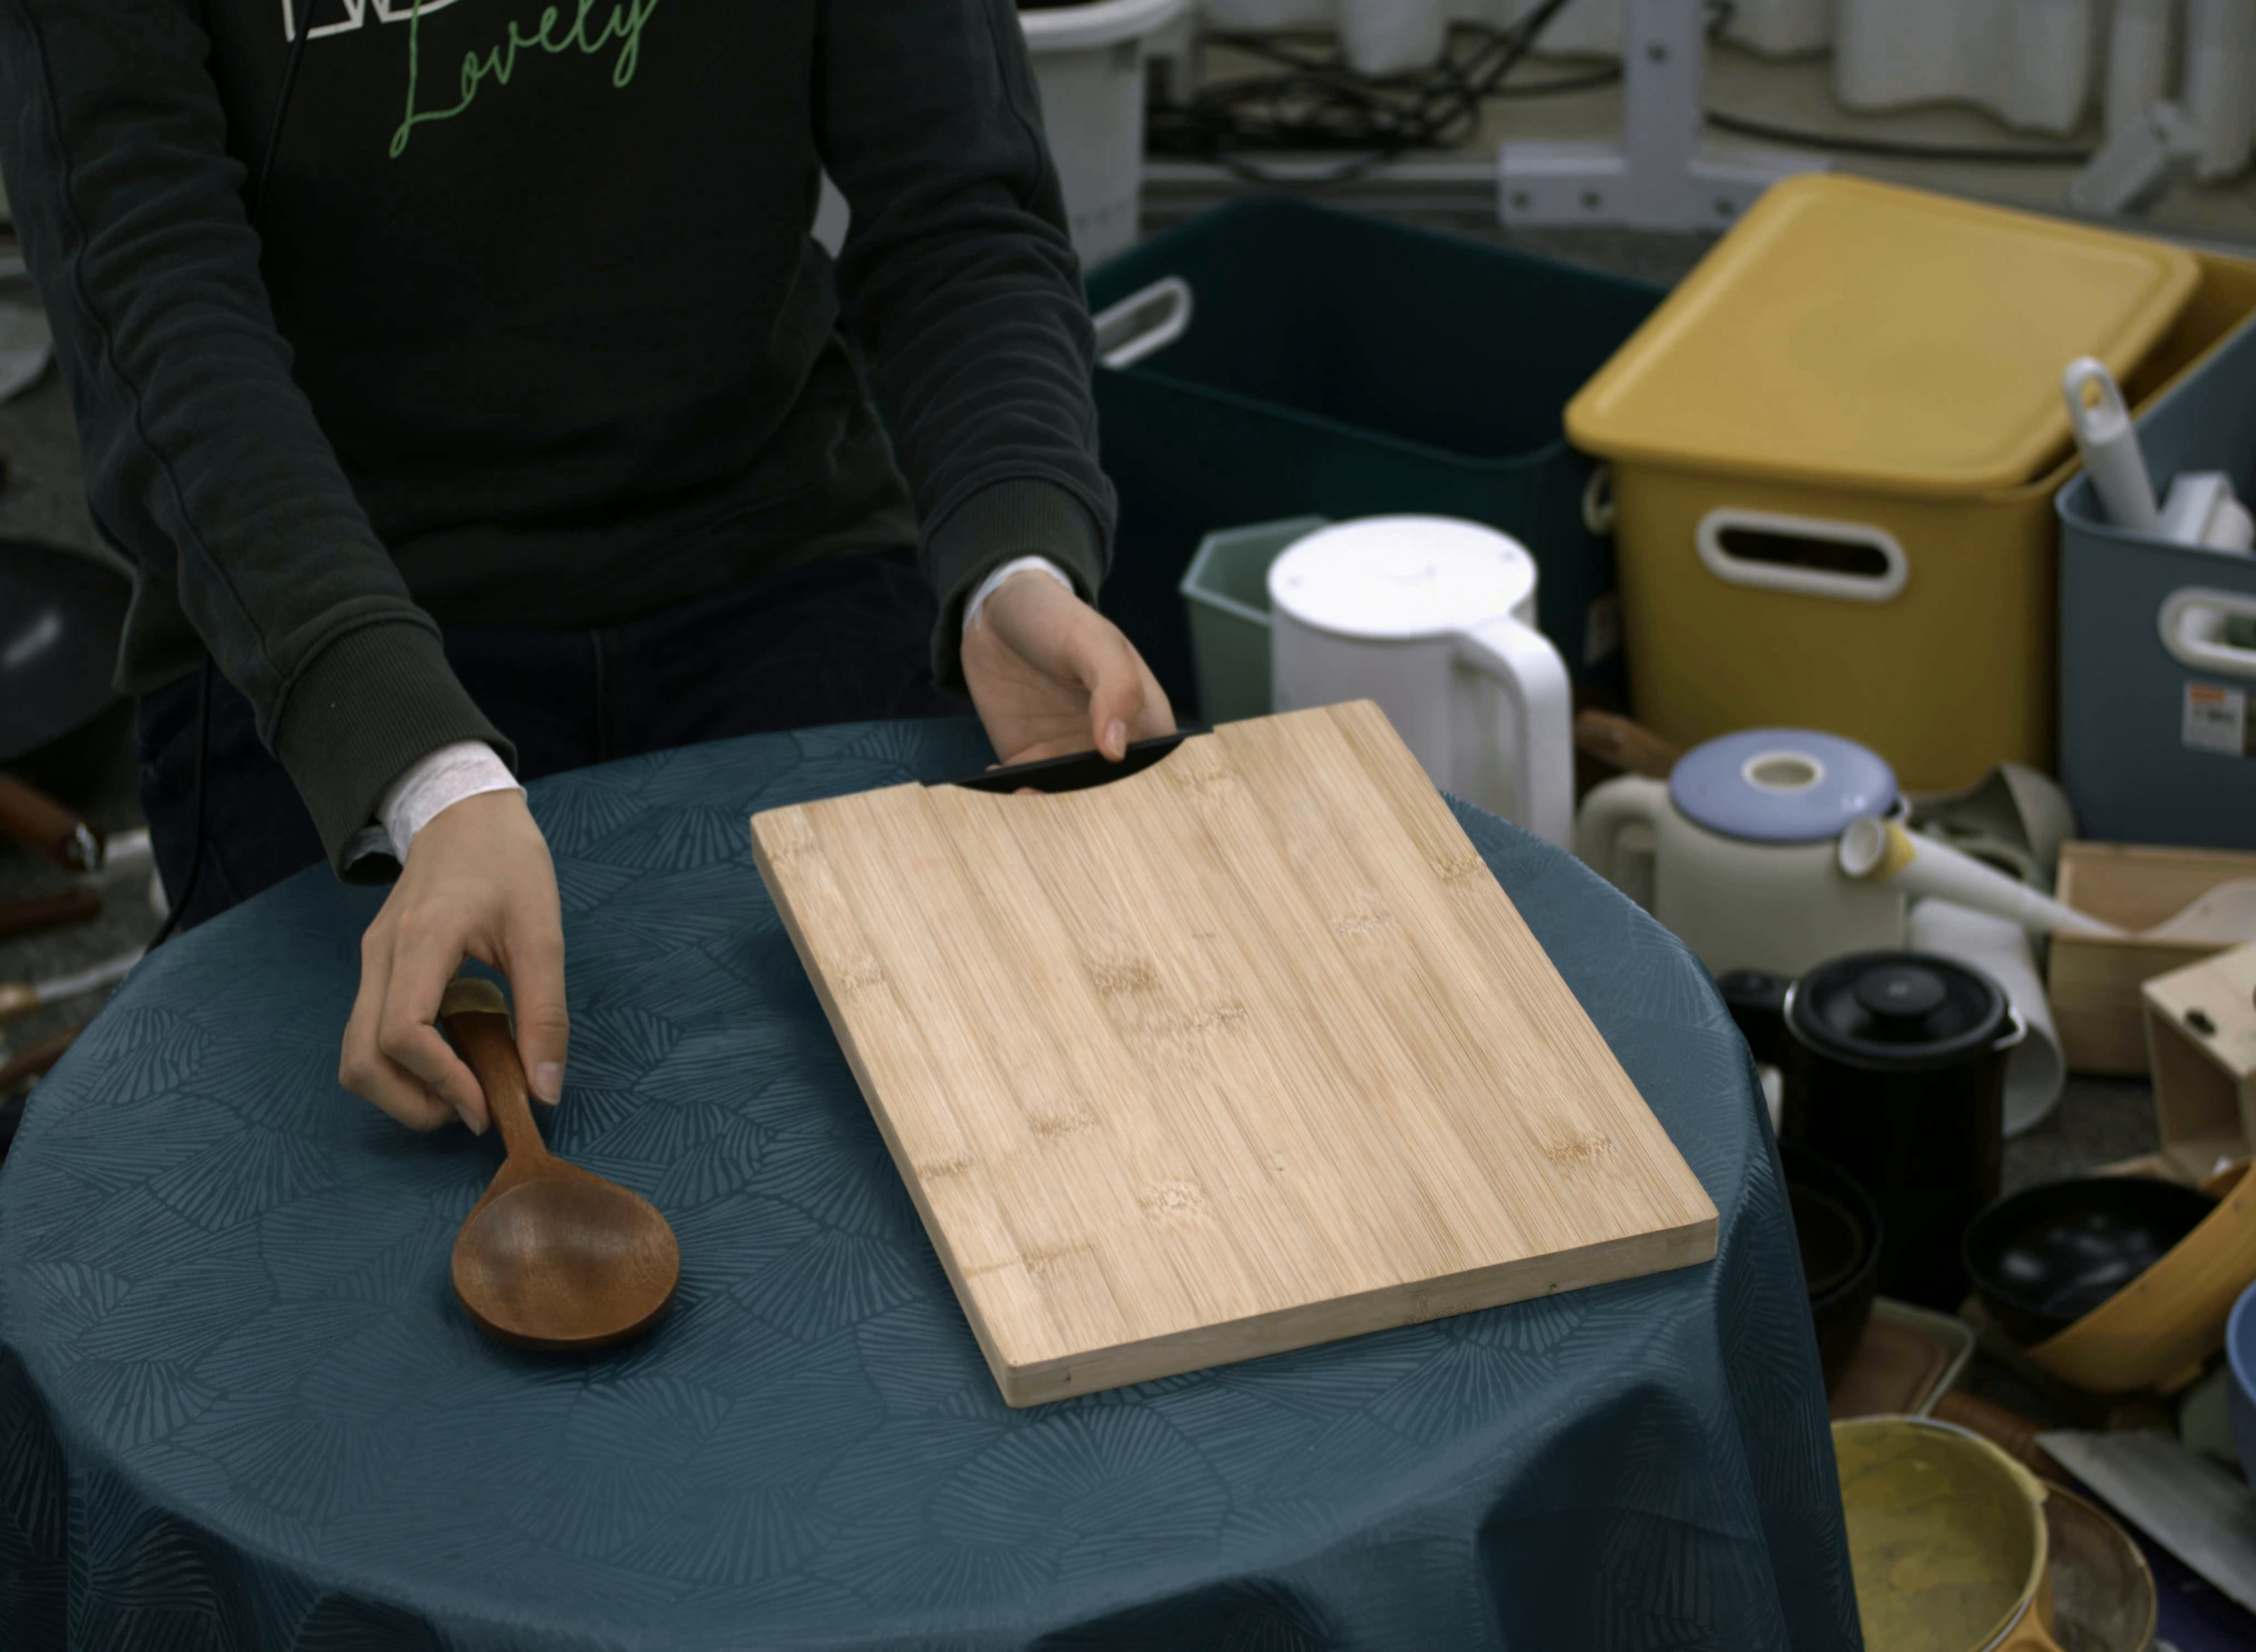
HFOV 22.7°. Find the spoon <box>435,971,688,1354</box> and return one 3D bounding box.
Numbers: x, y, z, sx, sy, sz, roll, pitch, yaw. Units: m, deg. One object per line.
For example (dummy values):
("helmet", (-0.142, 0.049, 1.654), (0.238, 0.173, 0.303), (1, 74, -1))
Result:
("spoon", (-0.198, 0.112, 1.864), (0.075, 0.017, 0.218), (-11, 34, -13))

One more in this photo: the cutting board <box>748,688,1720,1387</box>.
("cutting board", (0.026, 0.065, 1.918), (0.251, 0.023, 0.352), (-10, 33, -15))
